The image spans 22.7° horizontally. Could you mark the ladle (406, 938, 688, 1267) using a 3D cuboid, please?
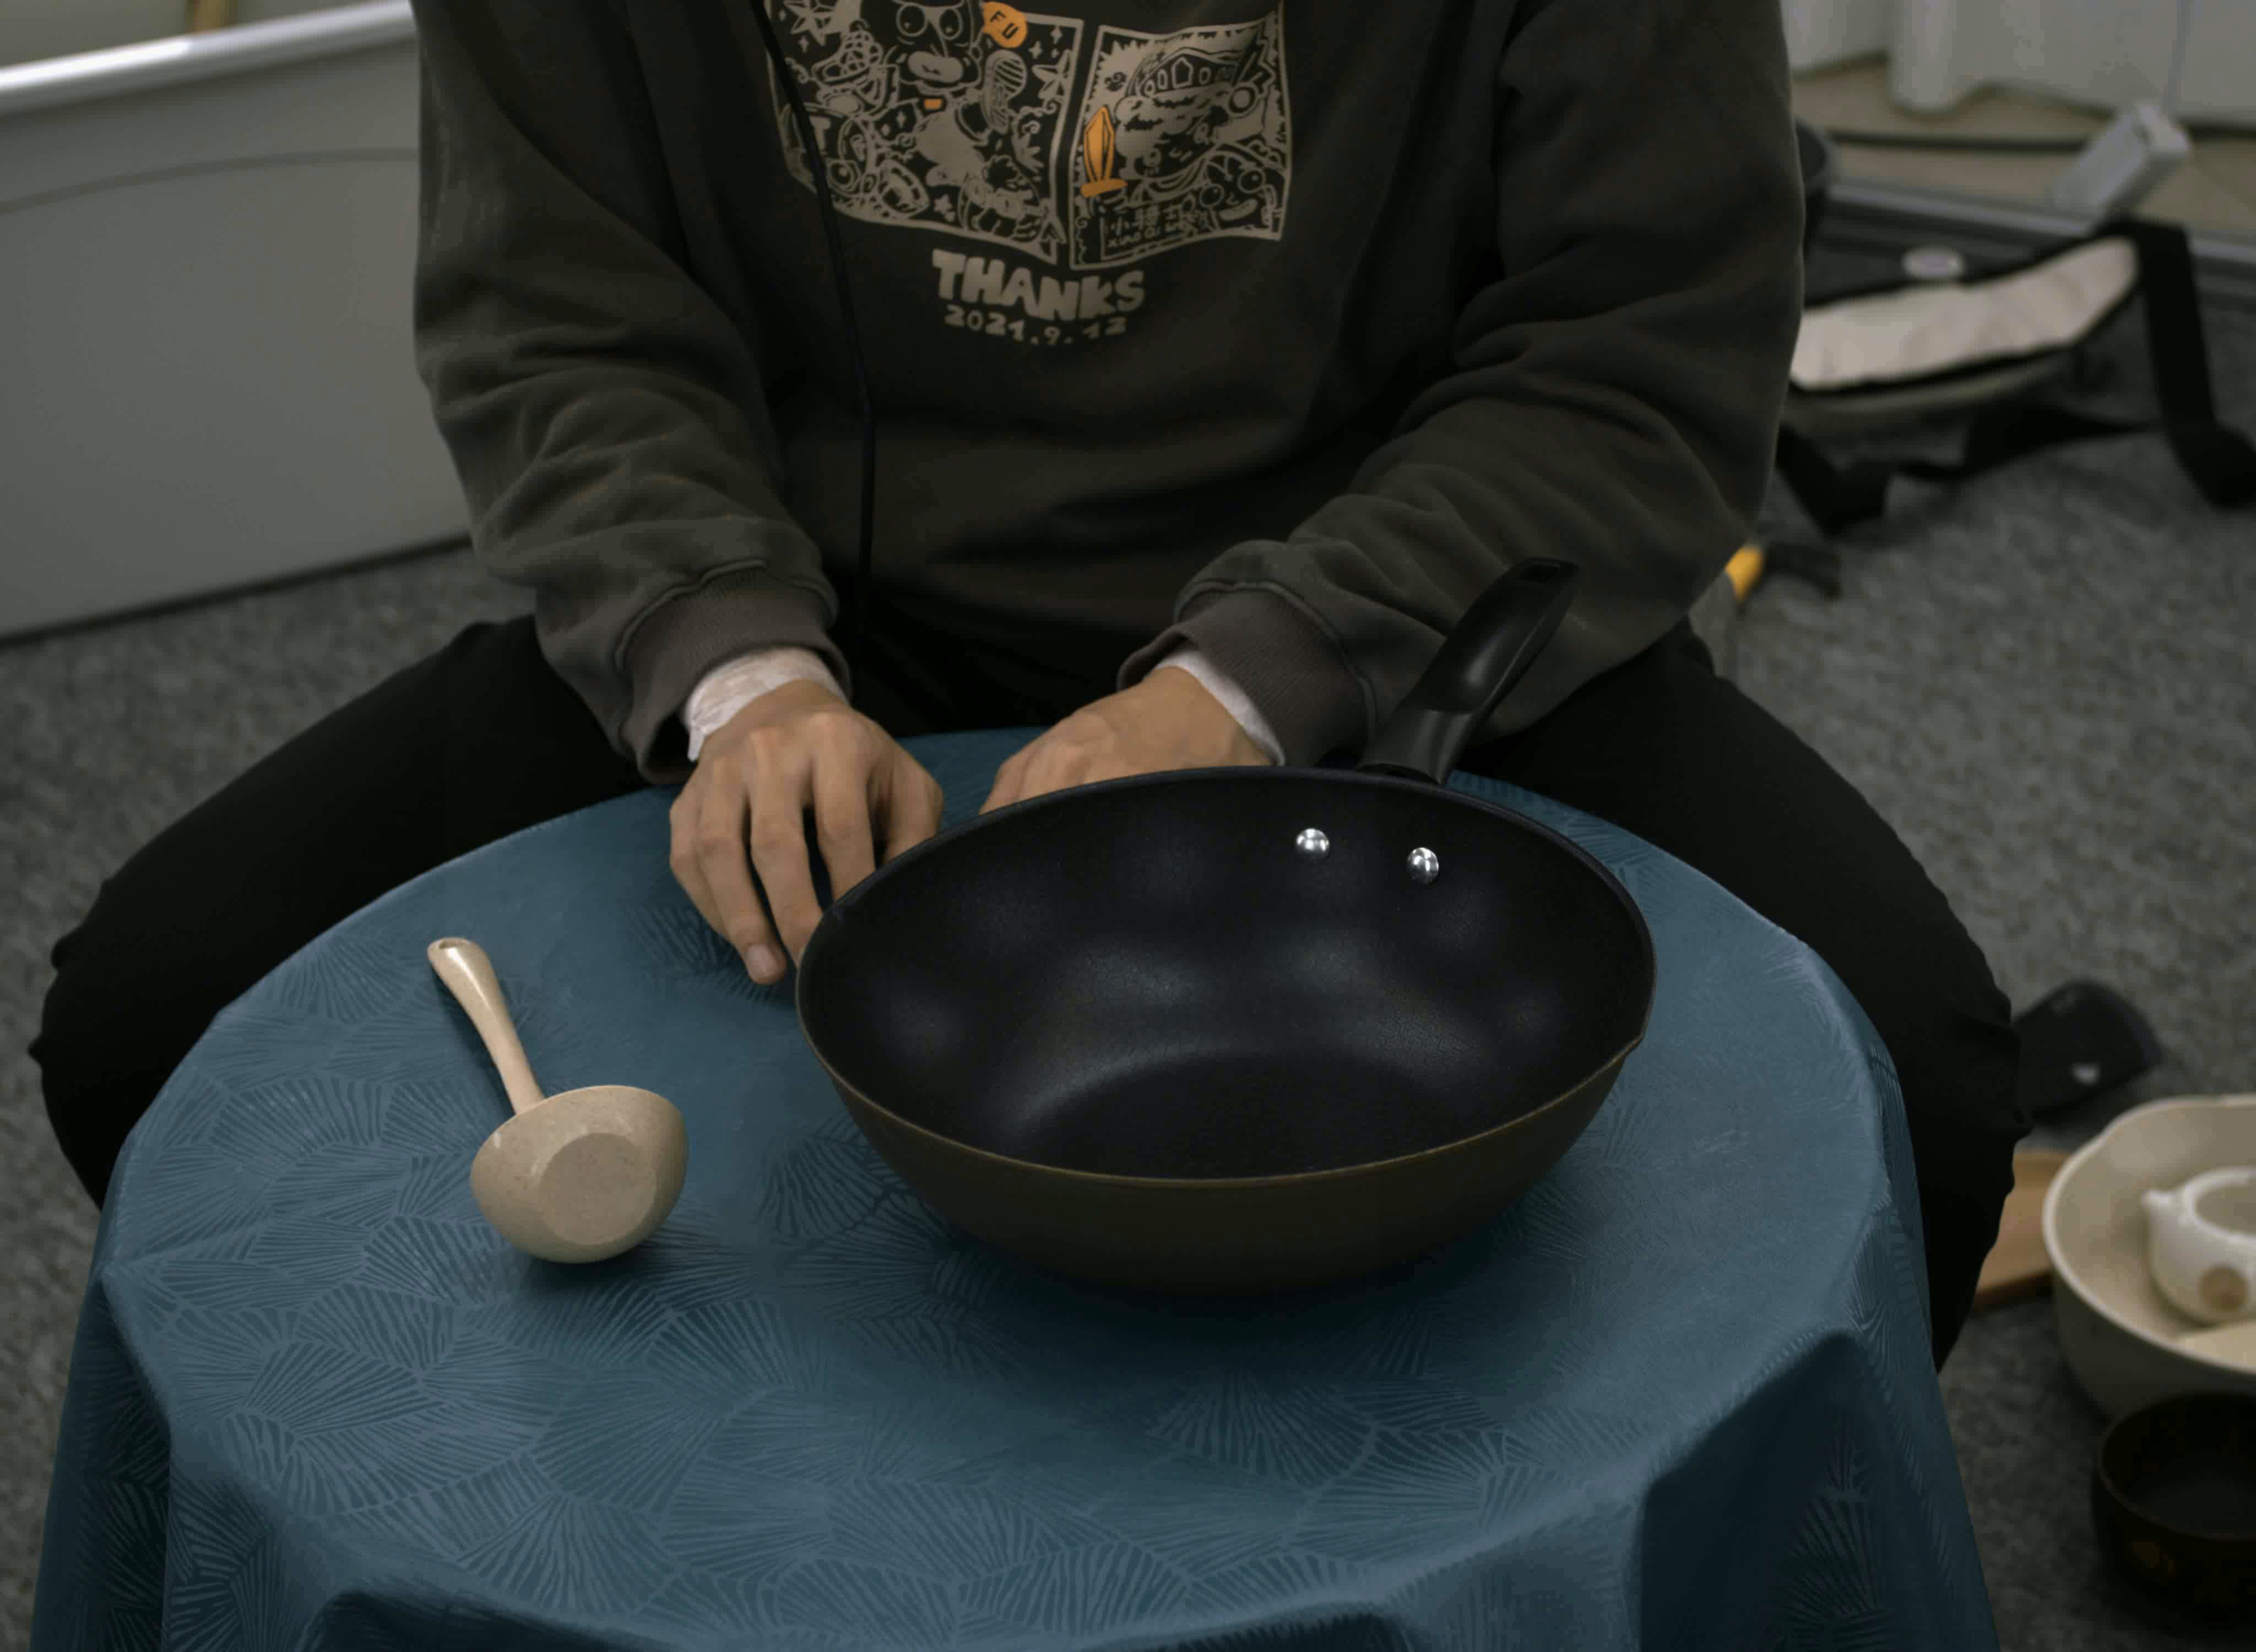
[{"bbox_3d":[-0.213,0.067,1.908,0.072,0.072,0.256,-17,31,-15],"label":"ladle"}]

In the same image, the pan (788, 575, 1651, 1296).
[{"bbox_3d":[0.068,0.038,1.925,0.286,0.086,0.471,9,29,22],"label":"pan"}]
